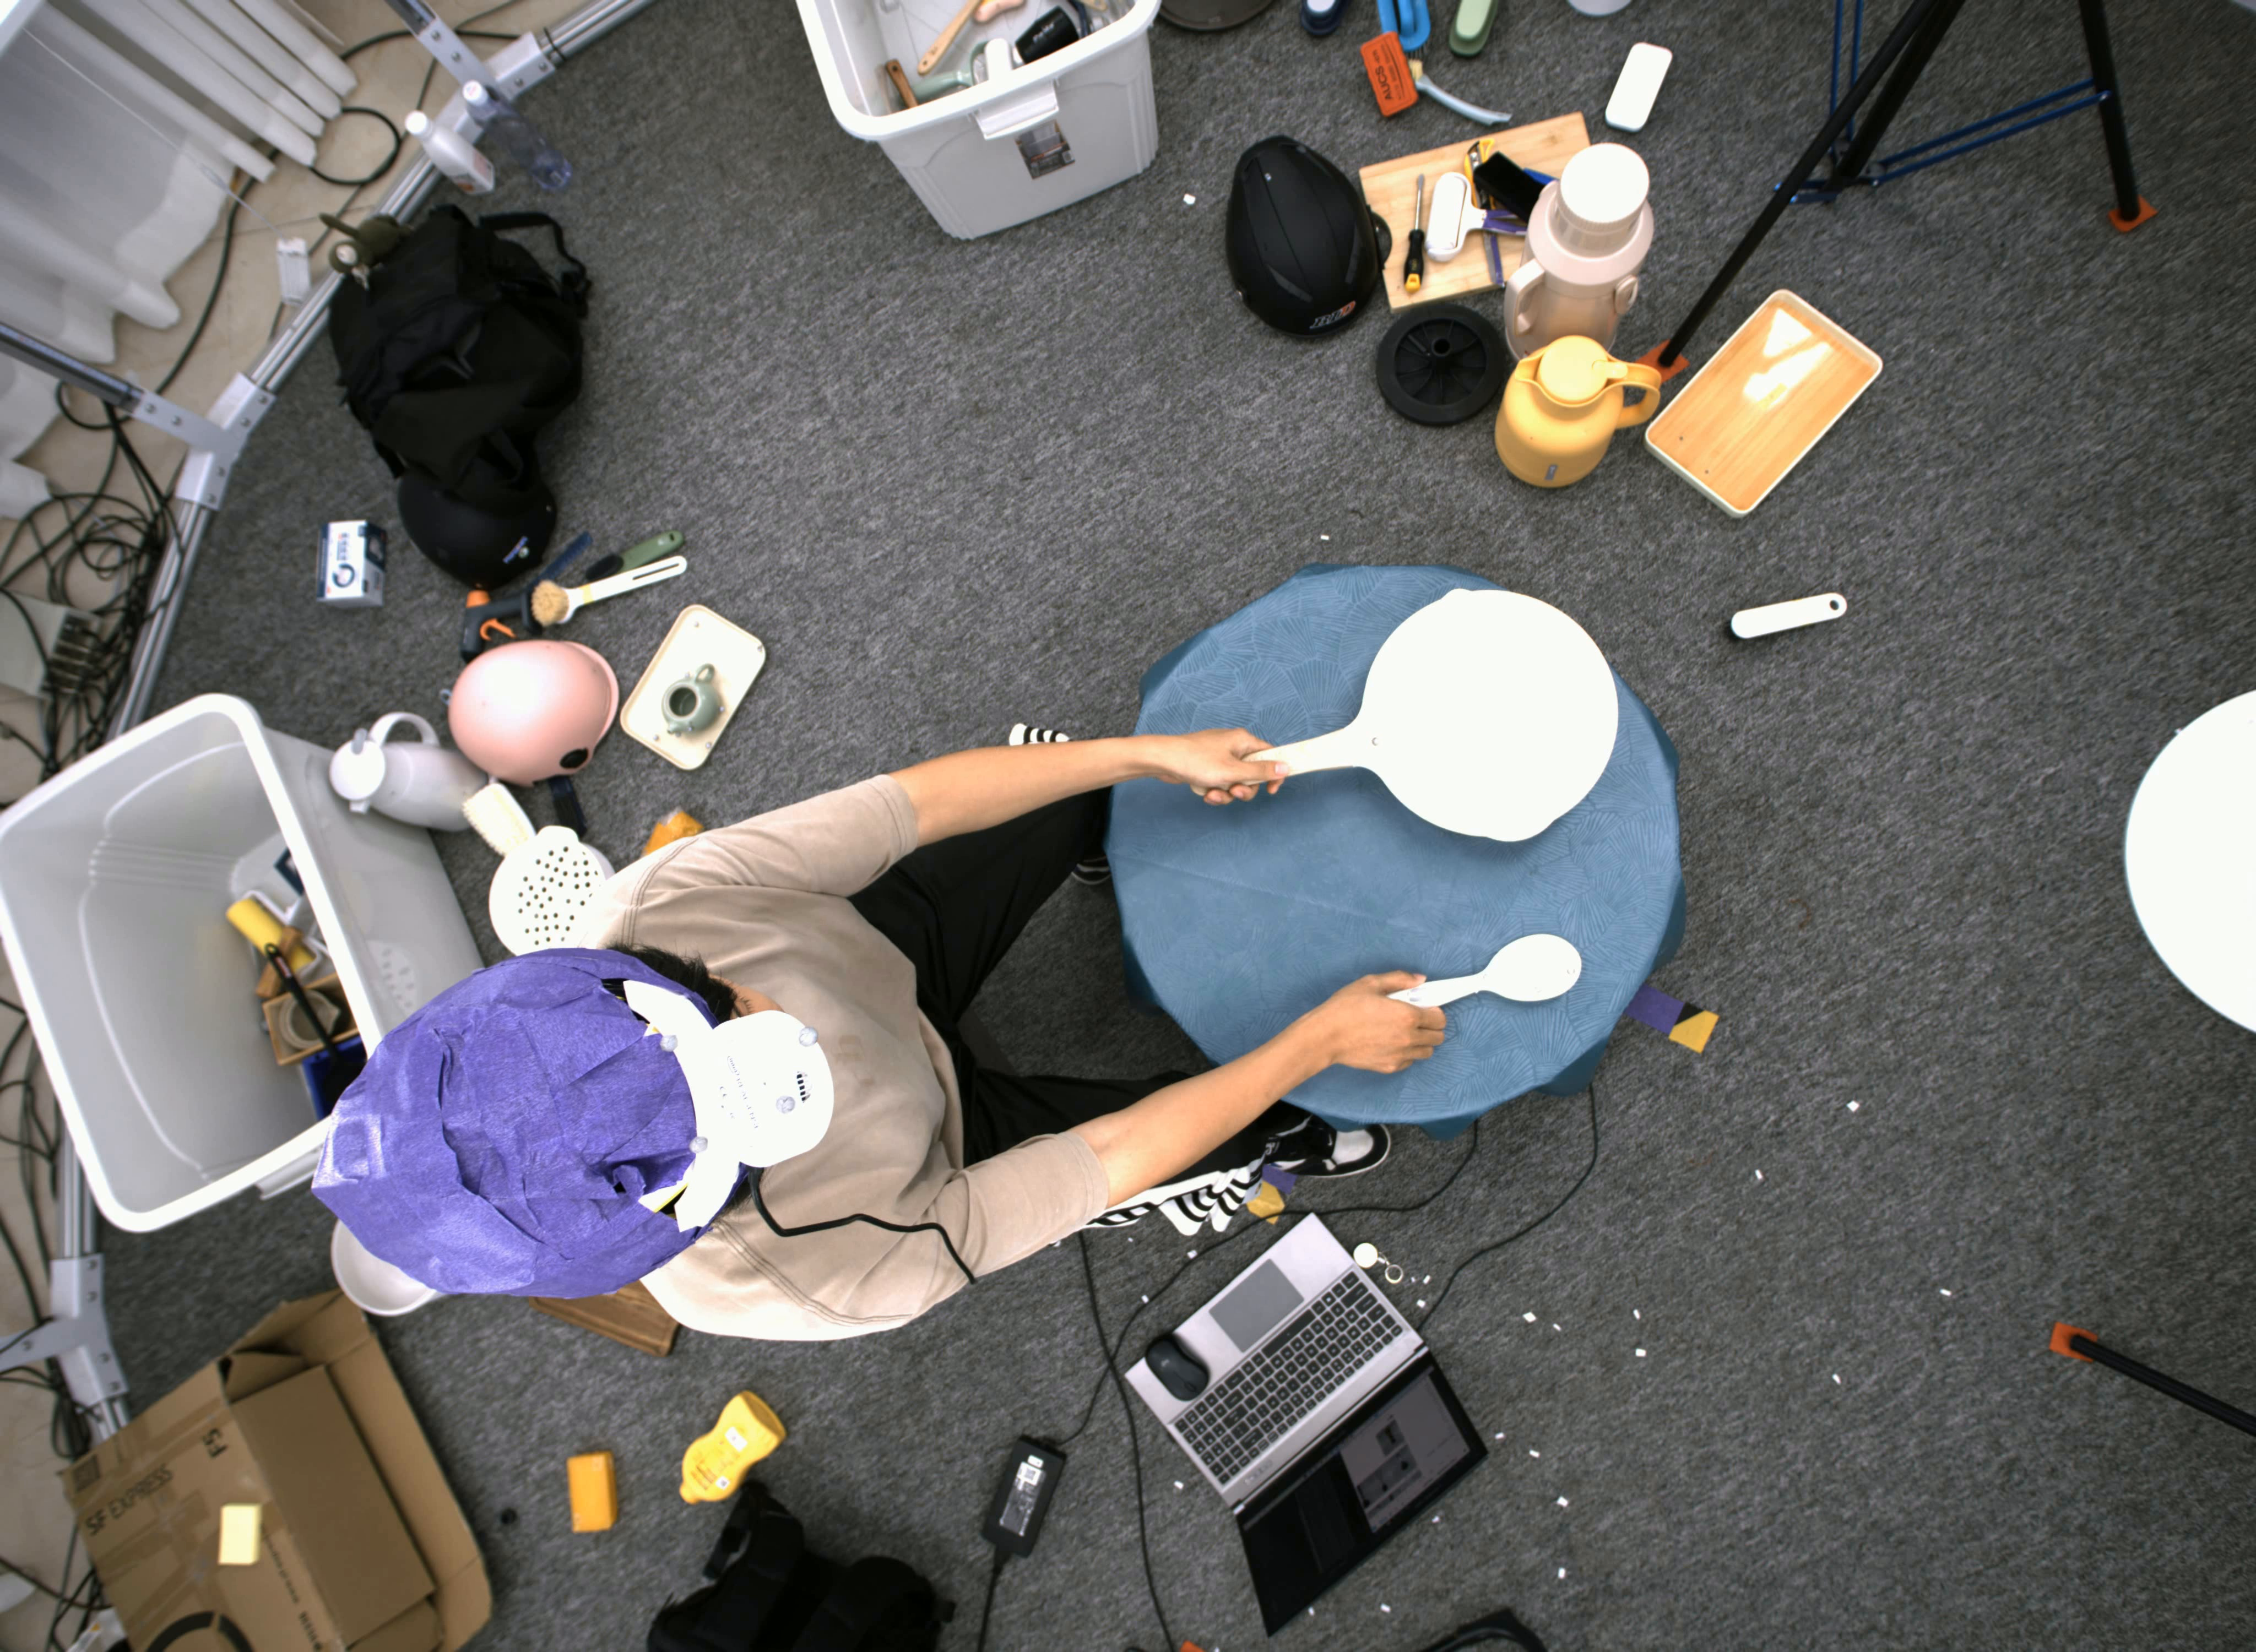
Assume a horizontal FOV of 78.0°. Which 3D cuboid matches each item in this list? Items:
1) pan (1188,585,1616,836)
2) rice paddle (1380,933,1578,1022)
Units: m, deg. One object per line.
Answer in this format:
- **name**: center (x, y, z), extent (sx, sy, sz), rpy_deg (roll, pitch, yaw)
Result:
- **pan**: center (0.277, -0.095, 1.423), extent (0.437, 0.102, 0.262), rpy_deg (-14, 86, 10)
- **rice paddle**: center (0.362, 0.157, 1.421), extent (0.206, 0.030, 0.067), rpy_deg (-16, 67, 8)
